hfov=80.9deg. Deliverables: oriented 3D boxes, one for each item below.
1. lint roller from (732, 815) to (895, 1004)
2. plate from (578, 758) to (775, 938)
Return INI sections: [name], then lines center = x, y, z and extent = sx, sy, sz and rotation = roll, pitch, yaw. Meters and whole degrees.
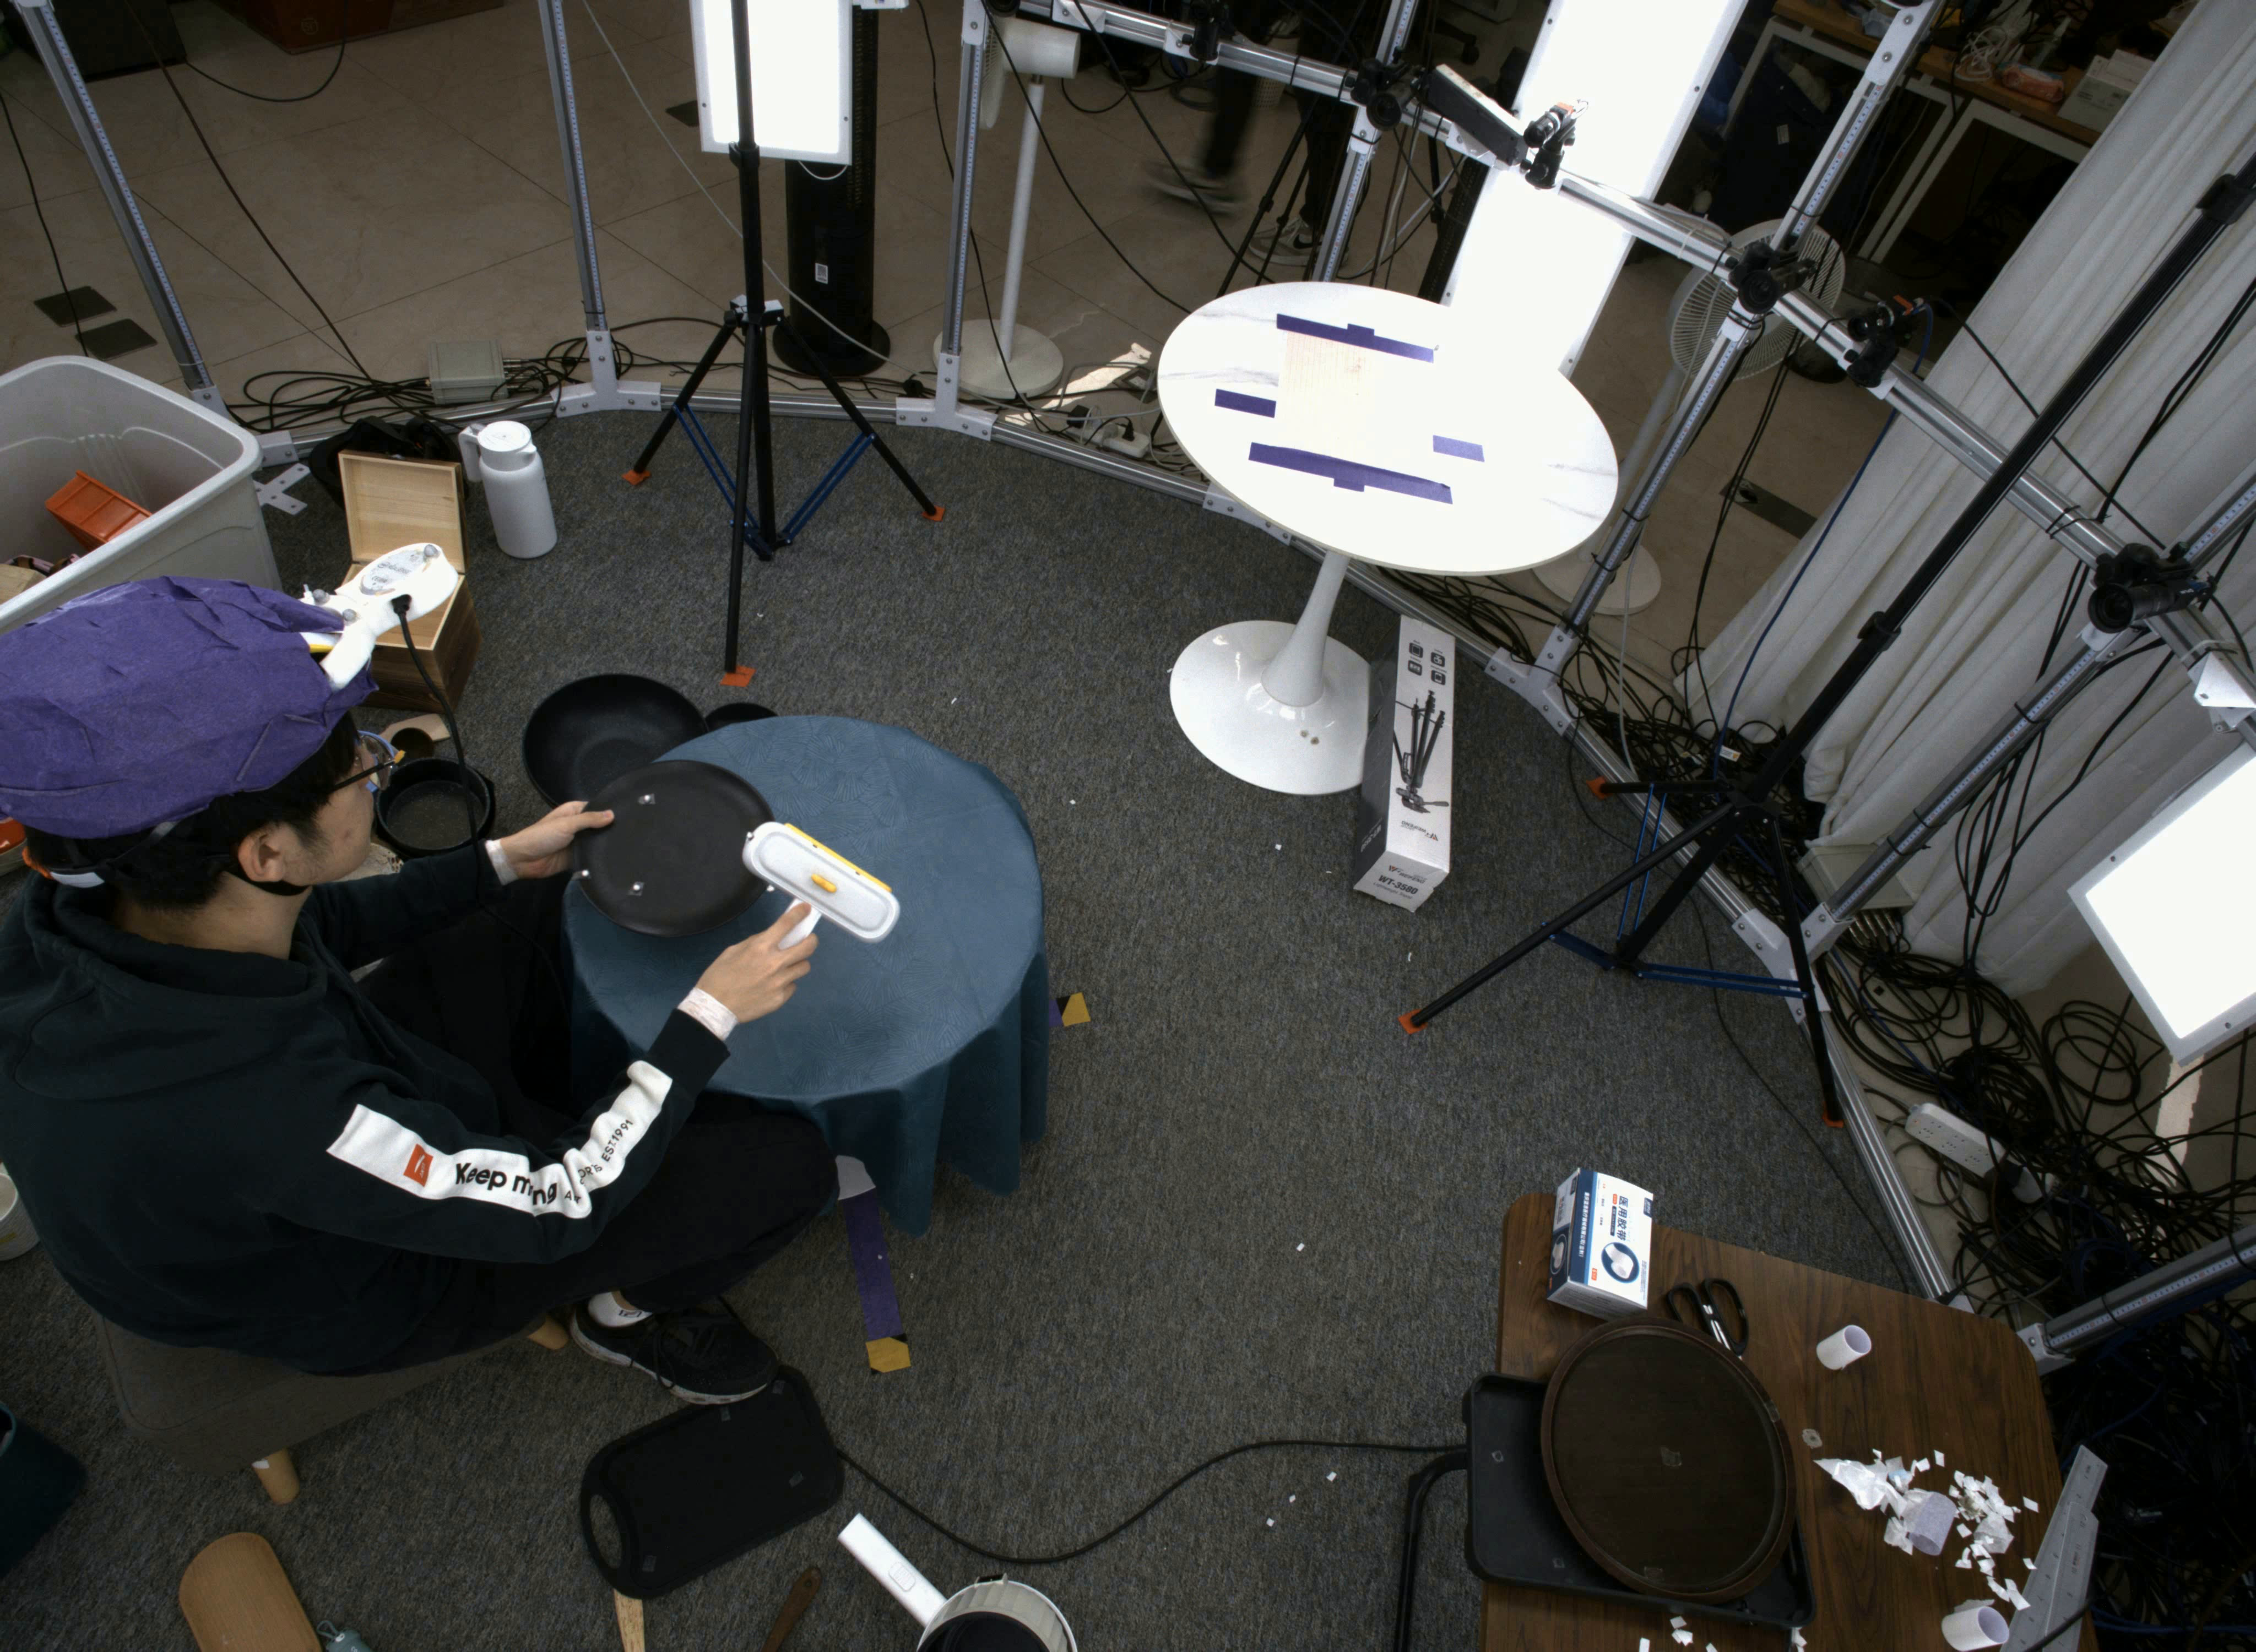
[lint roller]
center = -0.377, 0.107, 1.462
extent = 0.197, 0.073, 0.192
rotation = 31, 73, -21
[plate]
center = -0.548, 0.025, 1.562
extent = 0.244, 0.024, 0.241
rotation = 7, 61, -11
